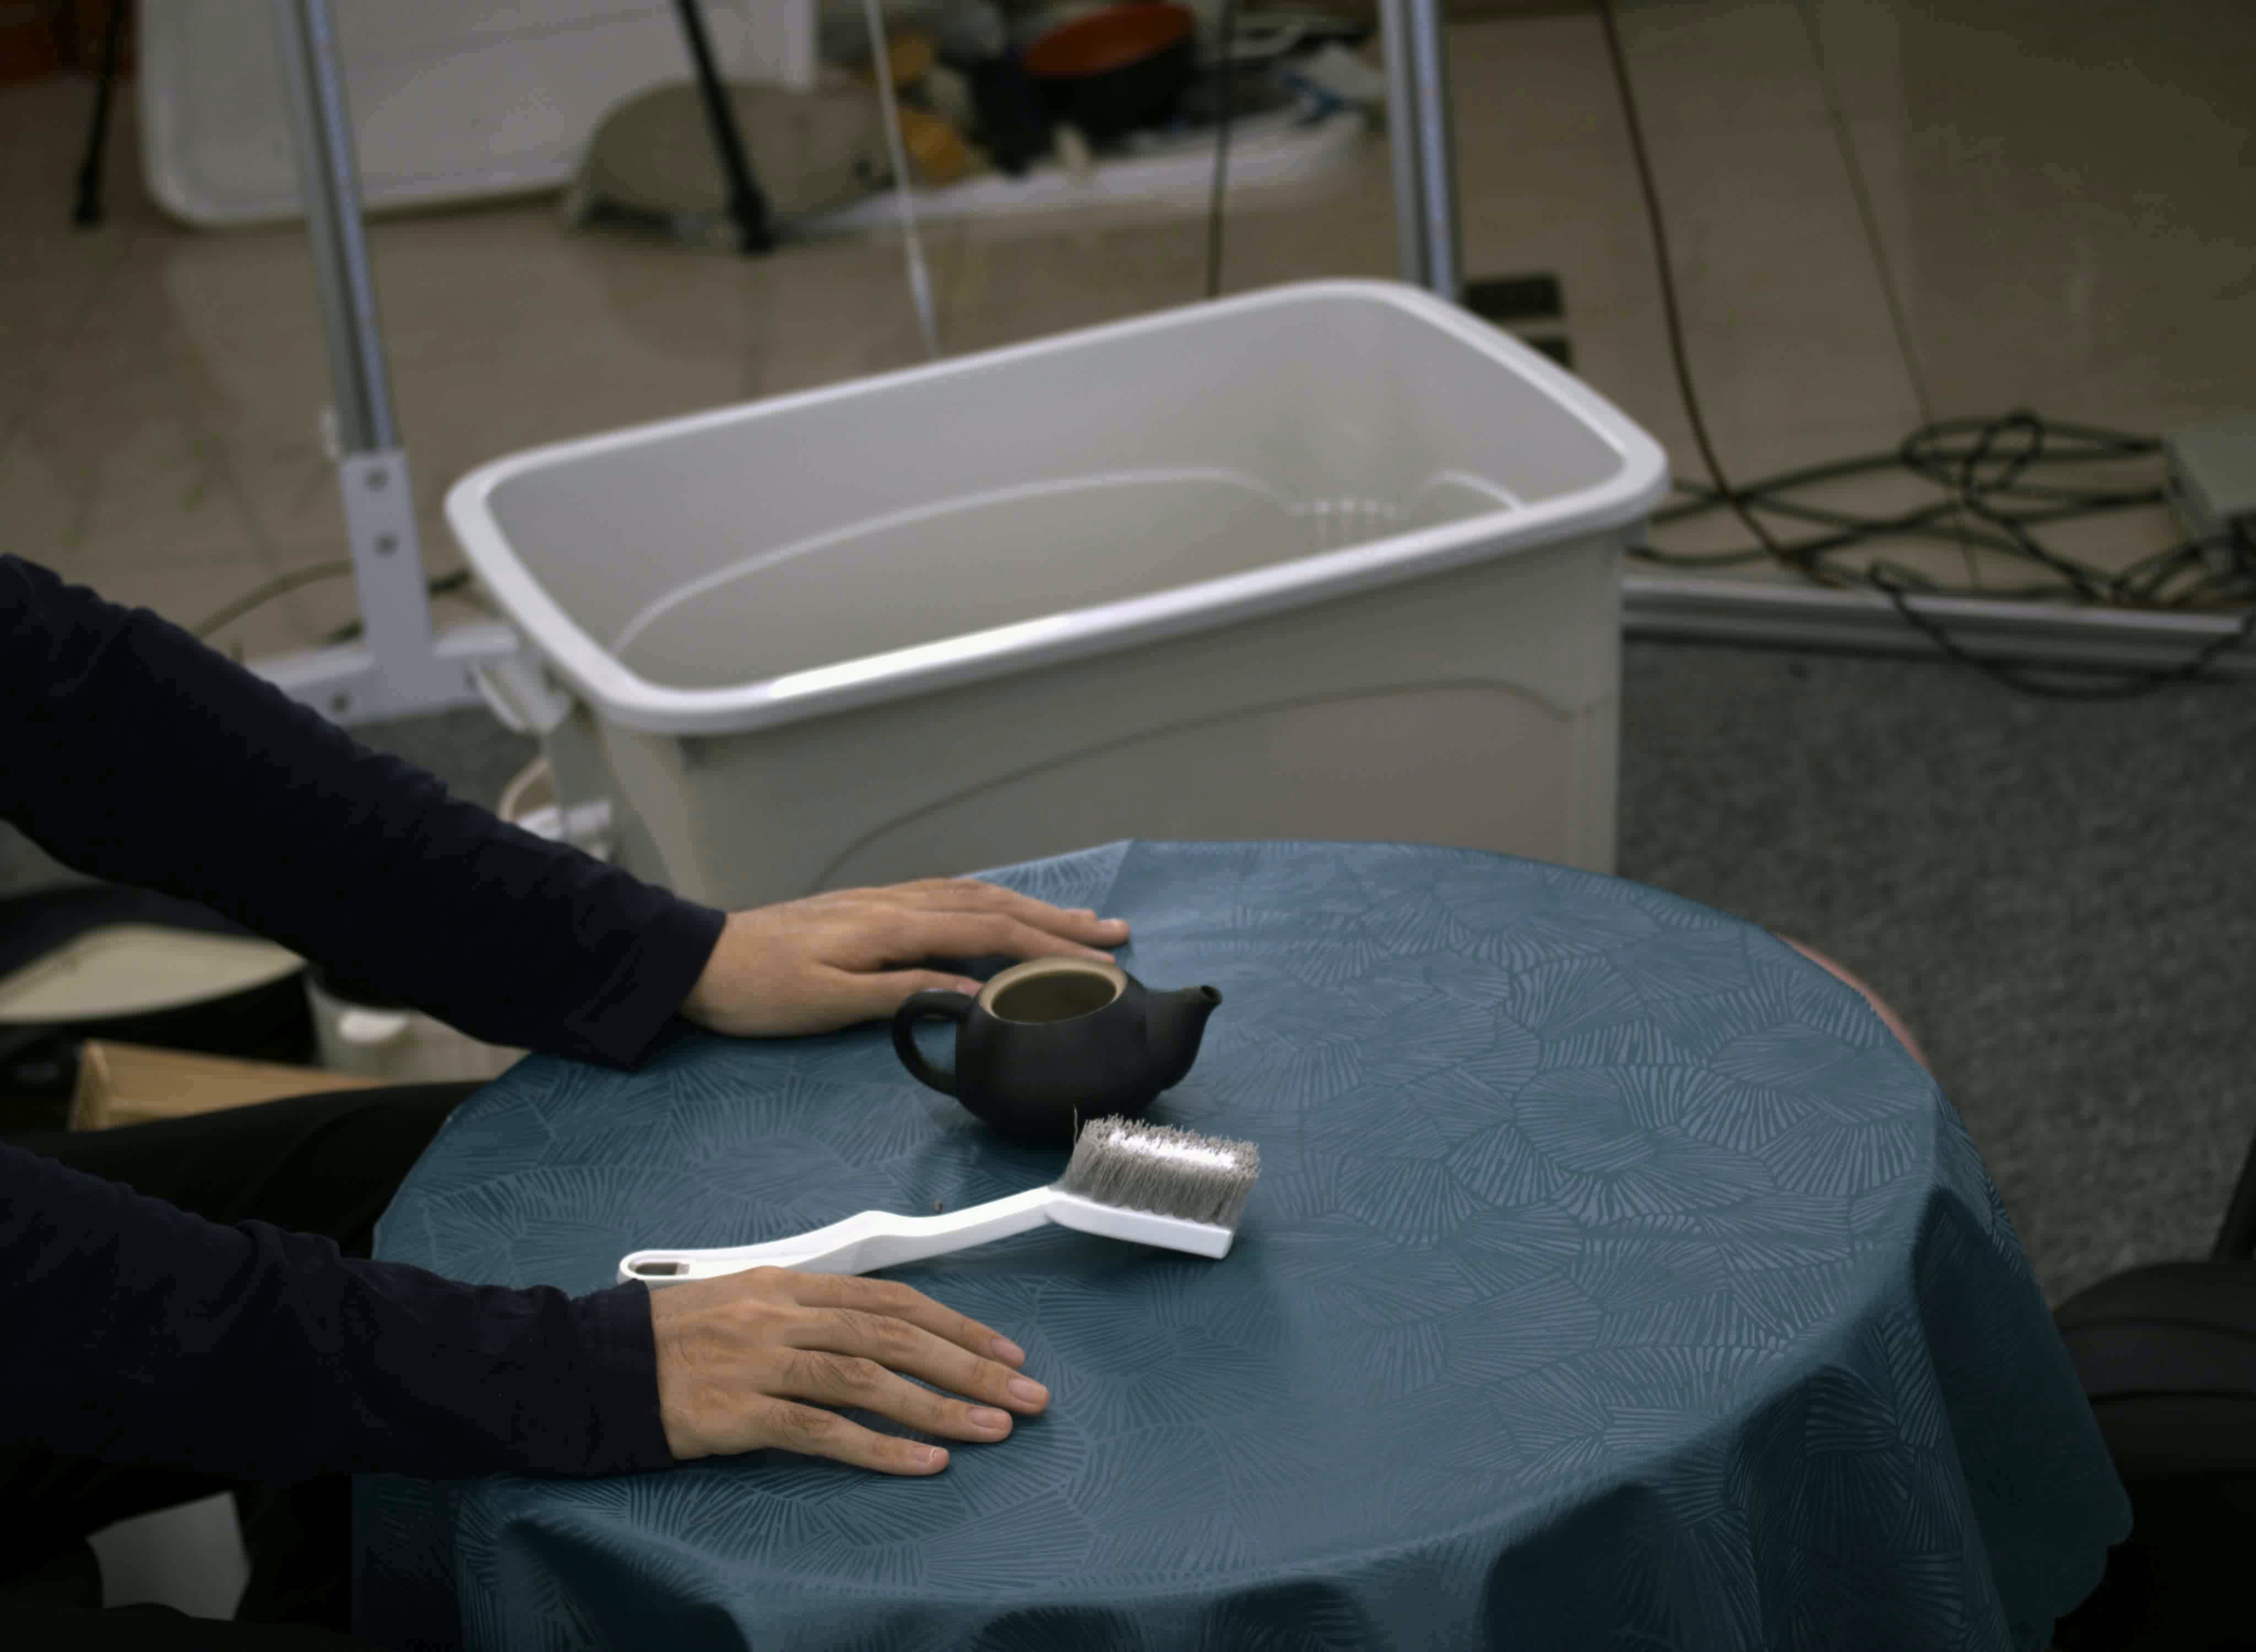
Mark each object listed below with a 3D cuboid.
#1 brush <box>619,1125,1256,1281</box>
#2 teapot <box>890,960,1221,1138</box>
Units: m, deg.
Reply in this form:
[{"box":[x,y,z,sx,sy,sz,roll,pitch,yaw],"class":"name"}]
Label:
[{"box":[-0.072,0.140,2.106,0.243,0.051,0.034,-3,30,7],"class":"brush"},{"box":[-0.027,0.087,2.203,0.133,0.054,0.090,-1,22,12],"class":"teapot"}]
